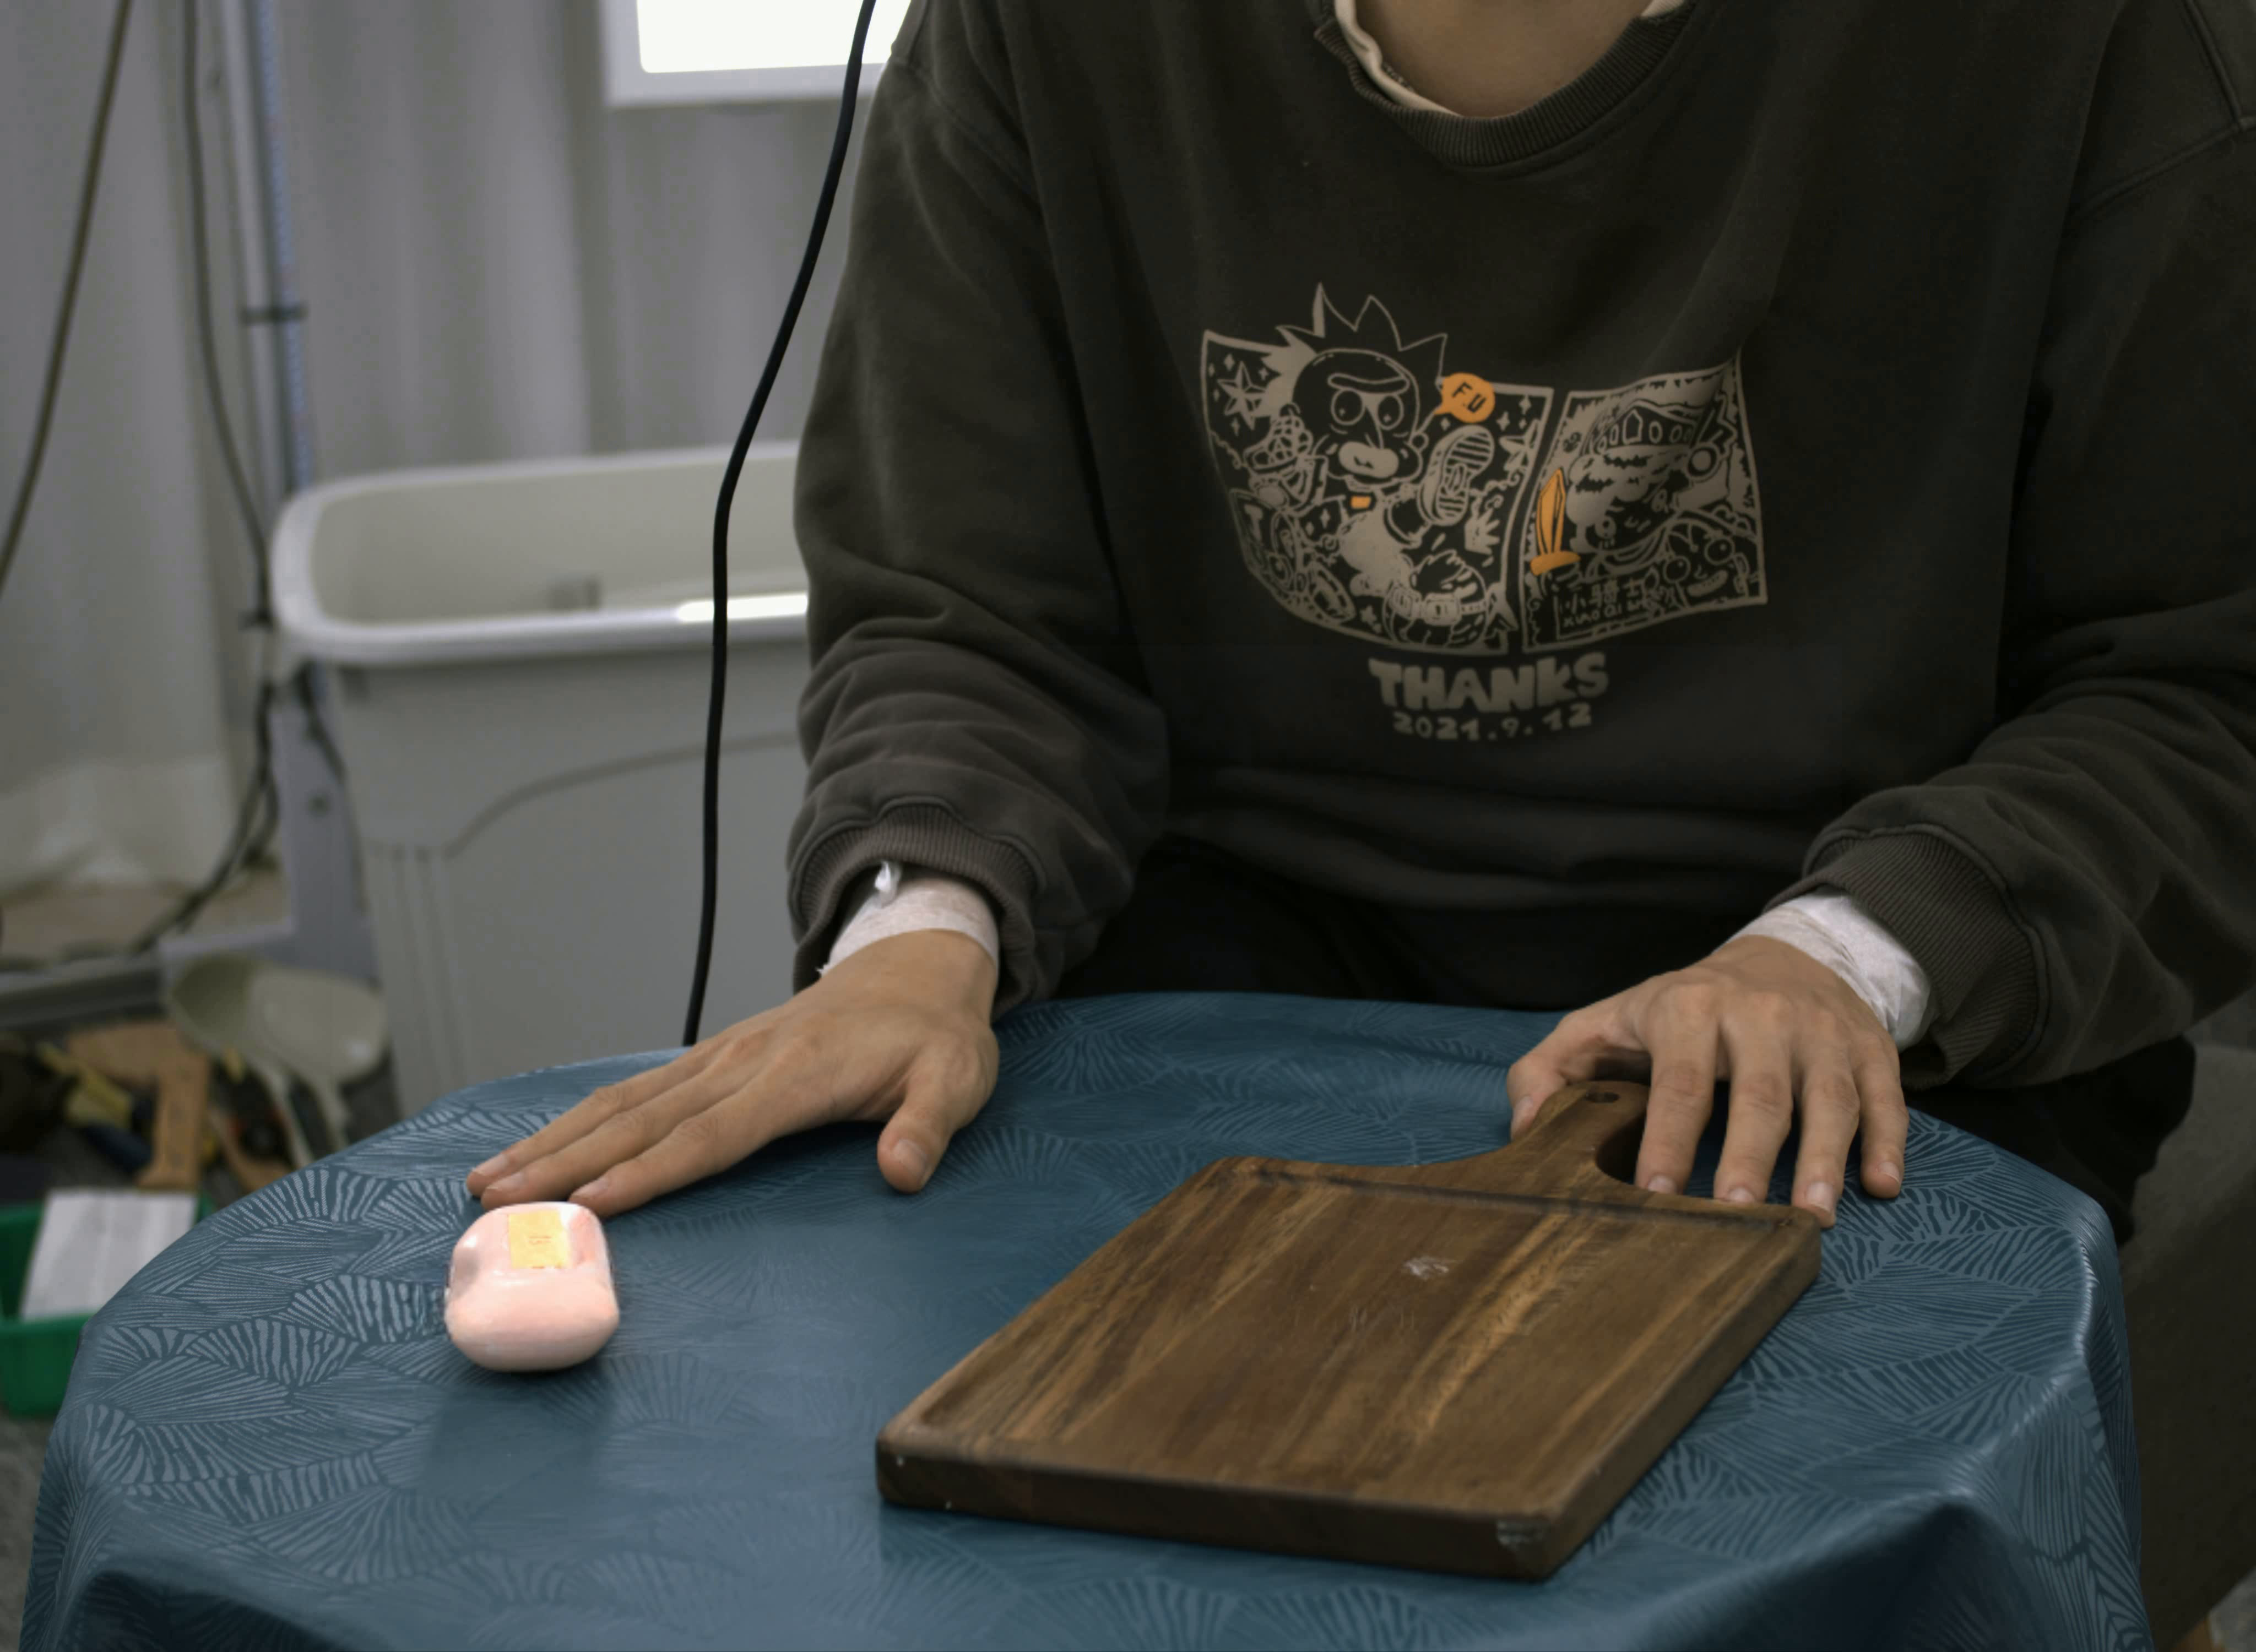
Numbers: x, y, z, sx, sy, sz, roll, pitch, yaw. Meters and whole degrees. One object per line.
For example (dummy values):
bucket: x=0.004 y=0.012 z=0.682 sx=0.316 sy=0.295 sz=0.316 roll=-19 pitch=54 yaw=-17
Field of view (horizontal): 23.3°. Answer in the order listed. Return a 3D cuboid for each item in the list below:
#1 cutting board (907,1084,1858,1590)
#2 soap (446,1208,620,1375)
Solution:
cutting board: x=0.097 y=0.137 z=1.581 sx=0.201 sy=0.023 sz=0.353 roll=4 pitch=16 yaw=24
soap: x=-0.175 y=0.137 z=1.619 sx=0.050 sy=0.030 sz=0.095 roll=-3 pitch=13 yaw=-4
